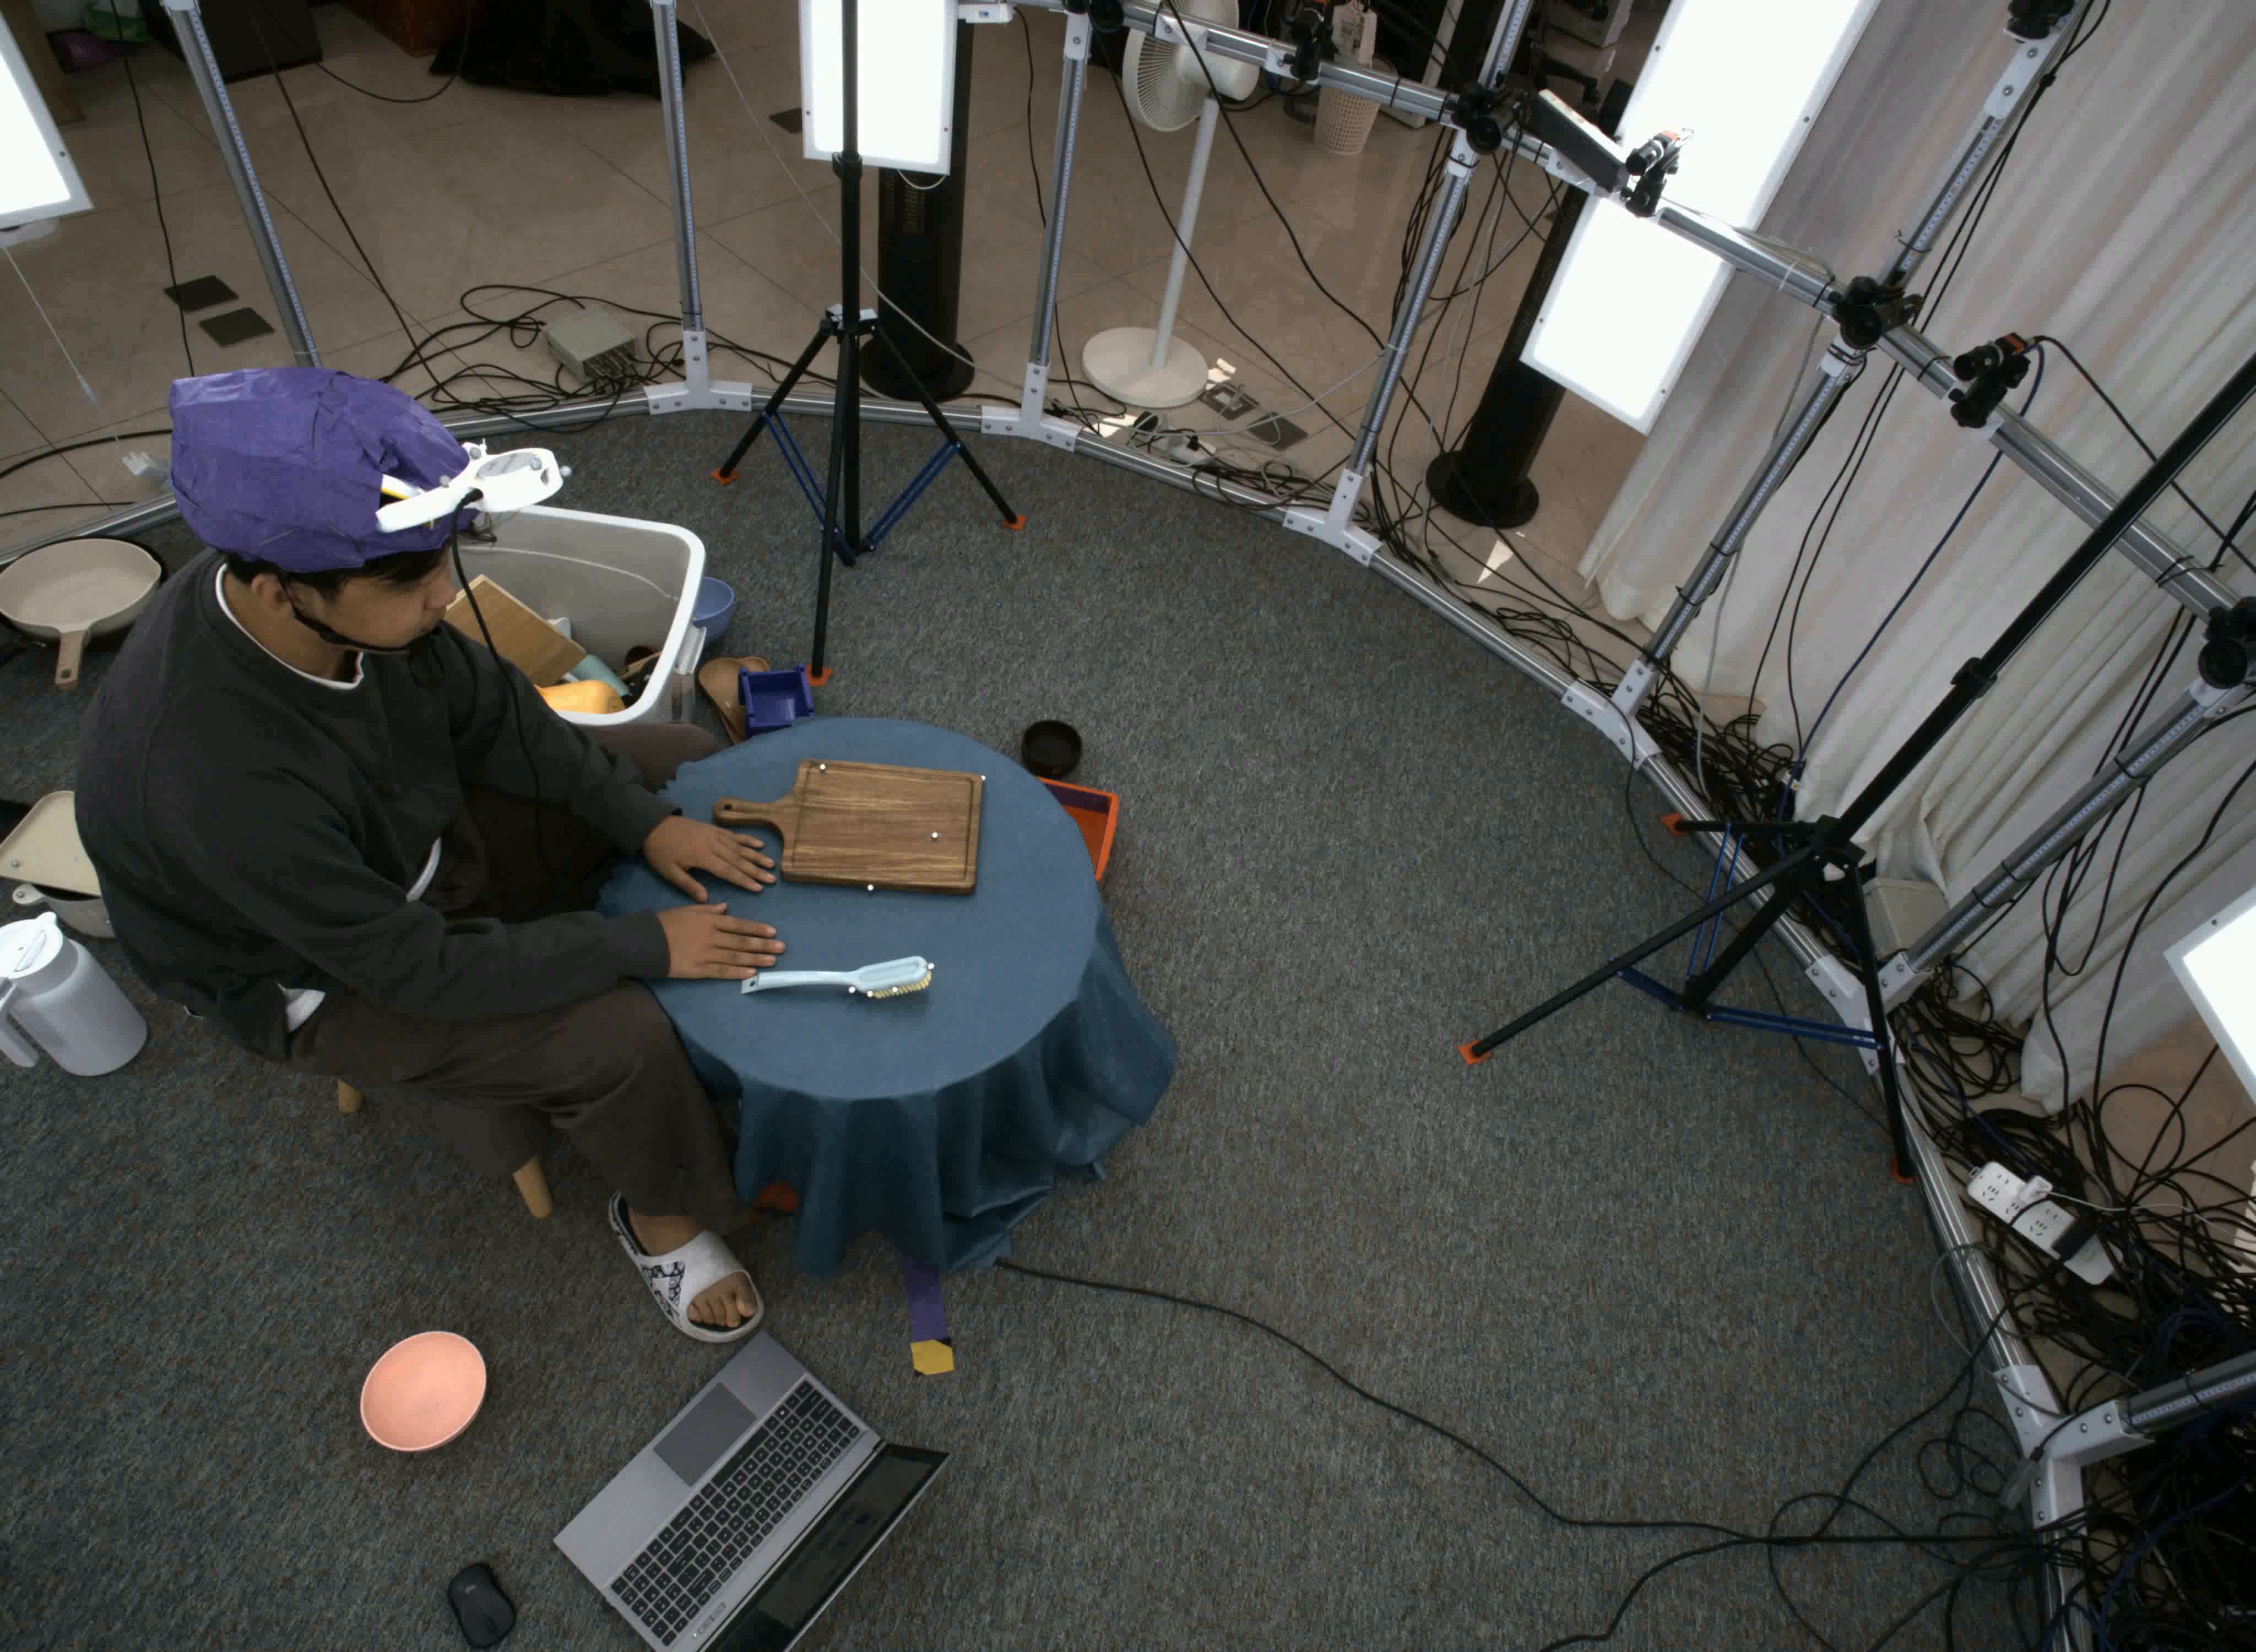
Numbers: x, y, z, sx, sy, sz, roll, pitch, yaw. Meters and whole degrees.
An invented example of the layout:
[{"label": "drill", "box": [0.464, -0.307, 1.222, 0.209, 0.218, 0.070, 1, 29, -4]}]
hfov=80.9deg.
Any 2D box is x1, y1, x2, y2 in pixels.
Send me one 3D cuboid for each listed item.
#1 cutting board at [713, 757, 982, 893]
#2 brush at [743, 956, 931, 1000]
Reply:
[{"label": "cutting board", "box": [-0.372, -0.009, 1.726, 0.351, 0.023, 0.197, 6, 52, -10]}, {"label": "brush", "box": [-0.353, 0.190, 1.576, 0.227, 0.051, 0.037, -6, 51, -7]}]
